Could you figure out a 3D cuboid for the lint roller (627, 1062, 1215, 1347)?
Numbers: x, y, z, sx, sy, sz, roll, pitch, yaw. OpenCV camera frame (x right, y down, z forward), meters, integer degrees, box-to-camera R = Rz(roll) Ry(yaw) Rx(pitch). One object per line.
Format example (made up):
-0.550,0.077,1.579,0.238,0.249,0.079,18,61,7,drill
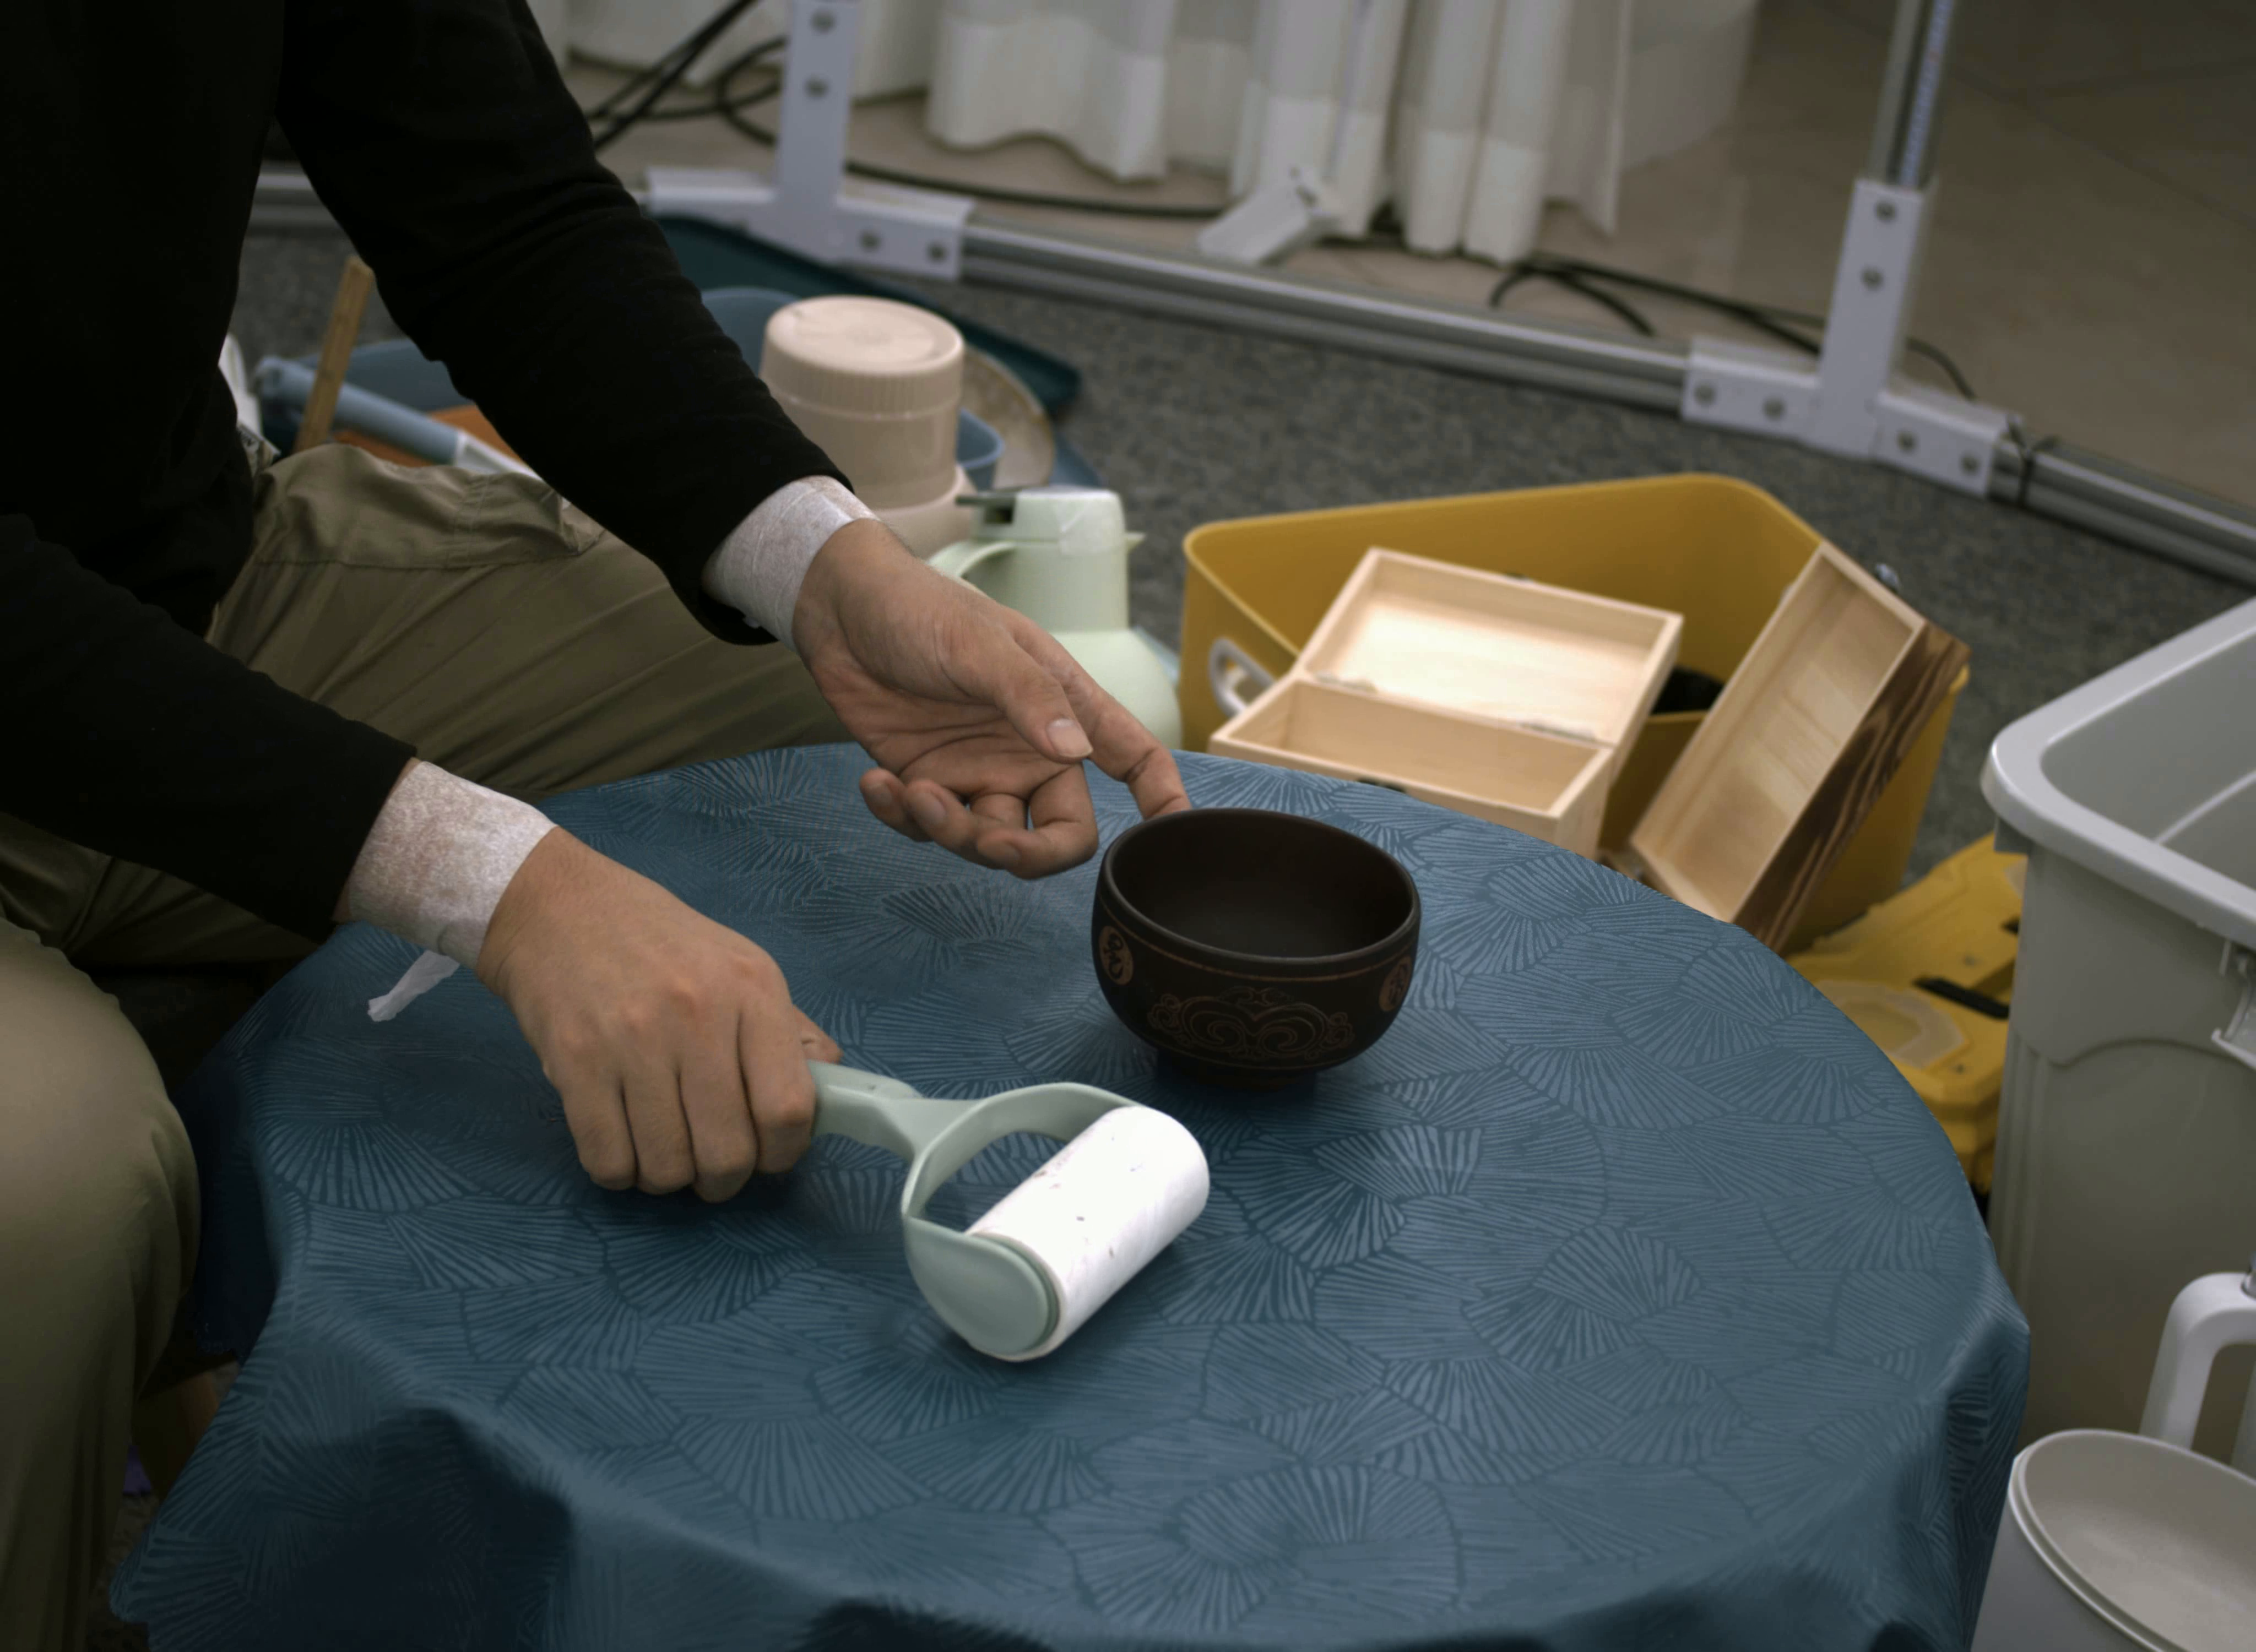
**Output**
-0.078,0.106,1.764,0.198,0.048,0.116,19,30,23,lint roller

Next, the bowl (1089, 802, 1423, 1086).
0.043,0.048,1.881,0.117,0.069,0.119,4,27,-2,bowl
